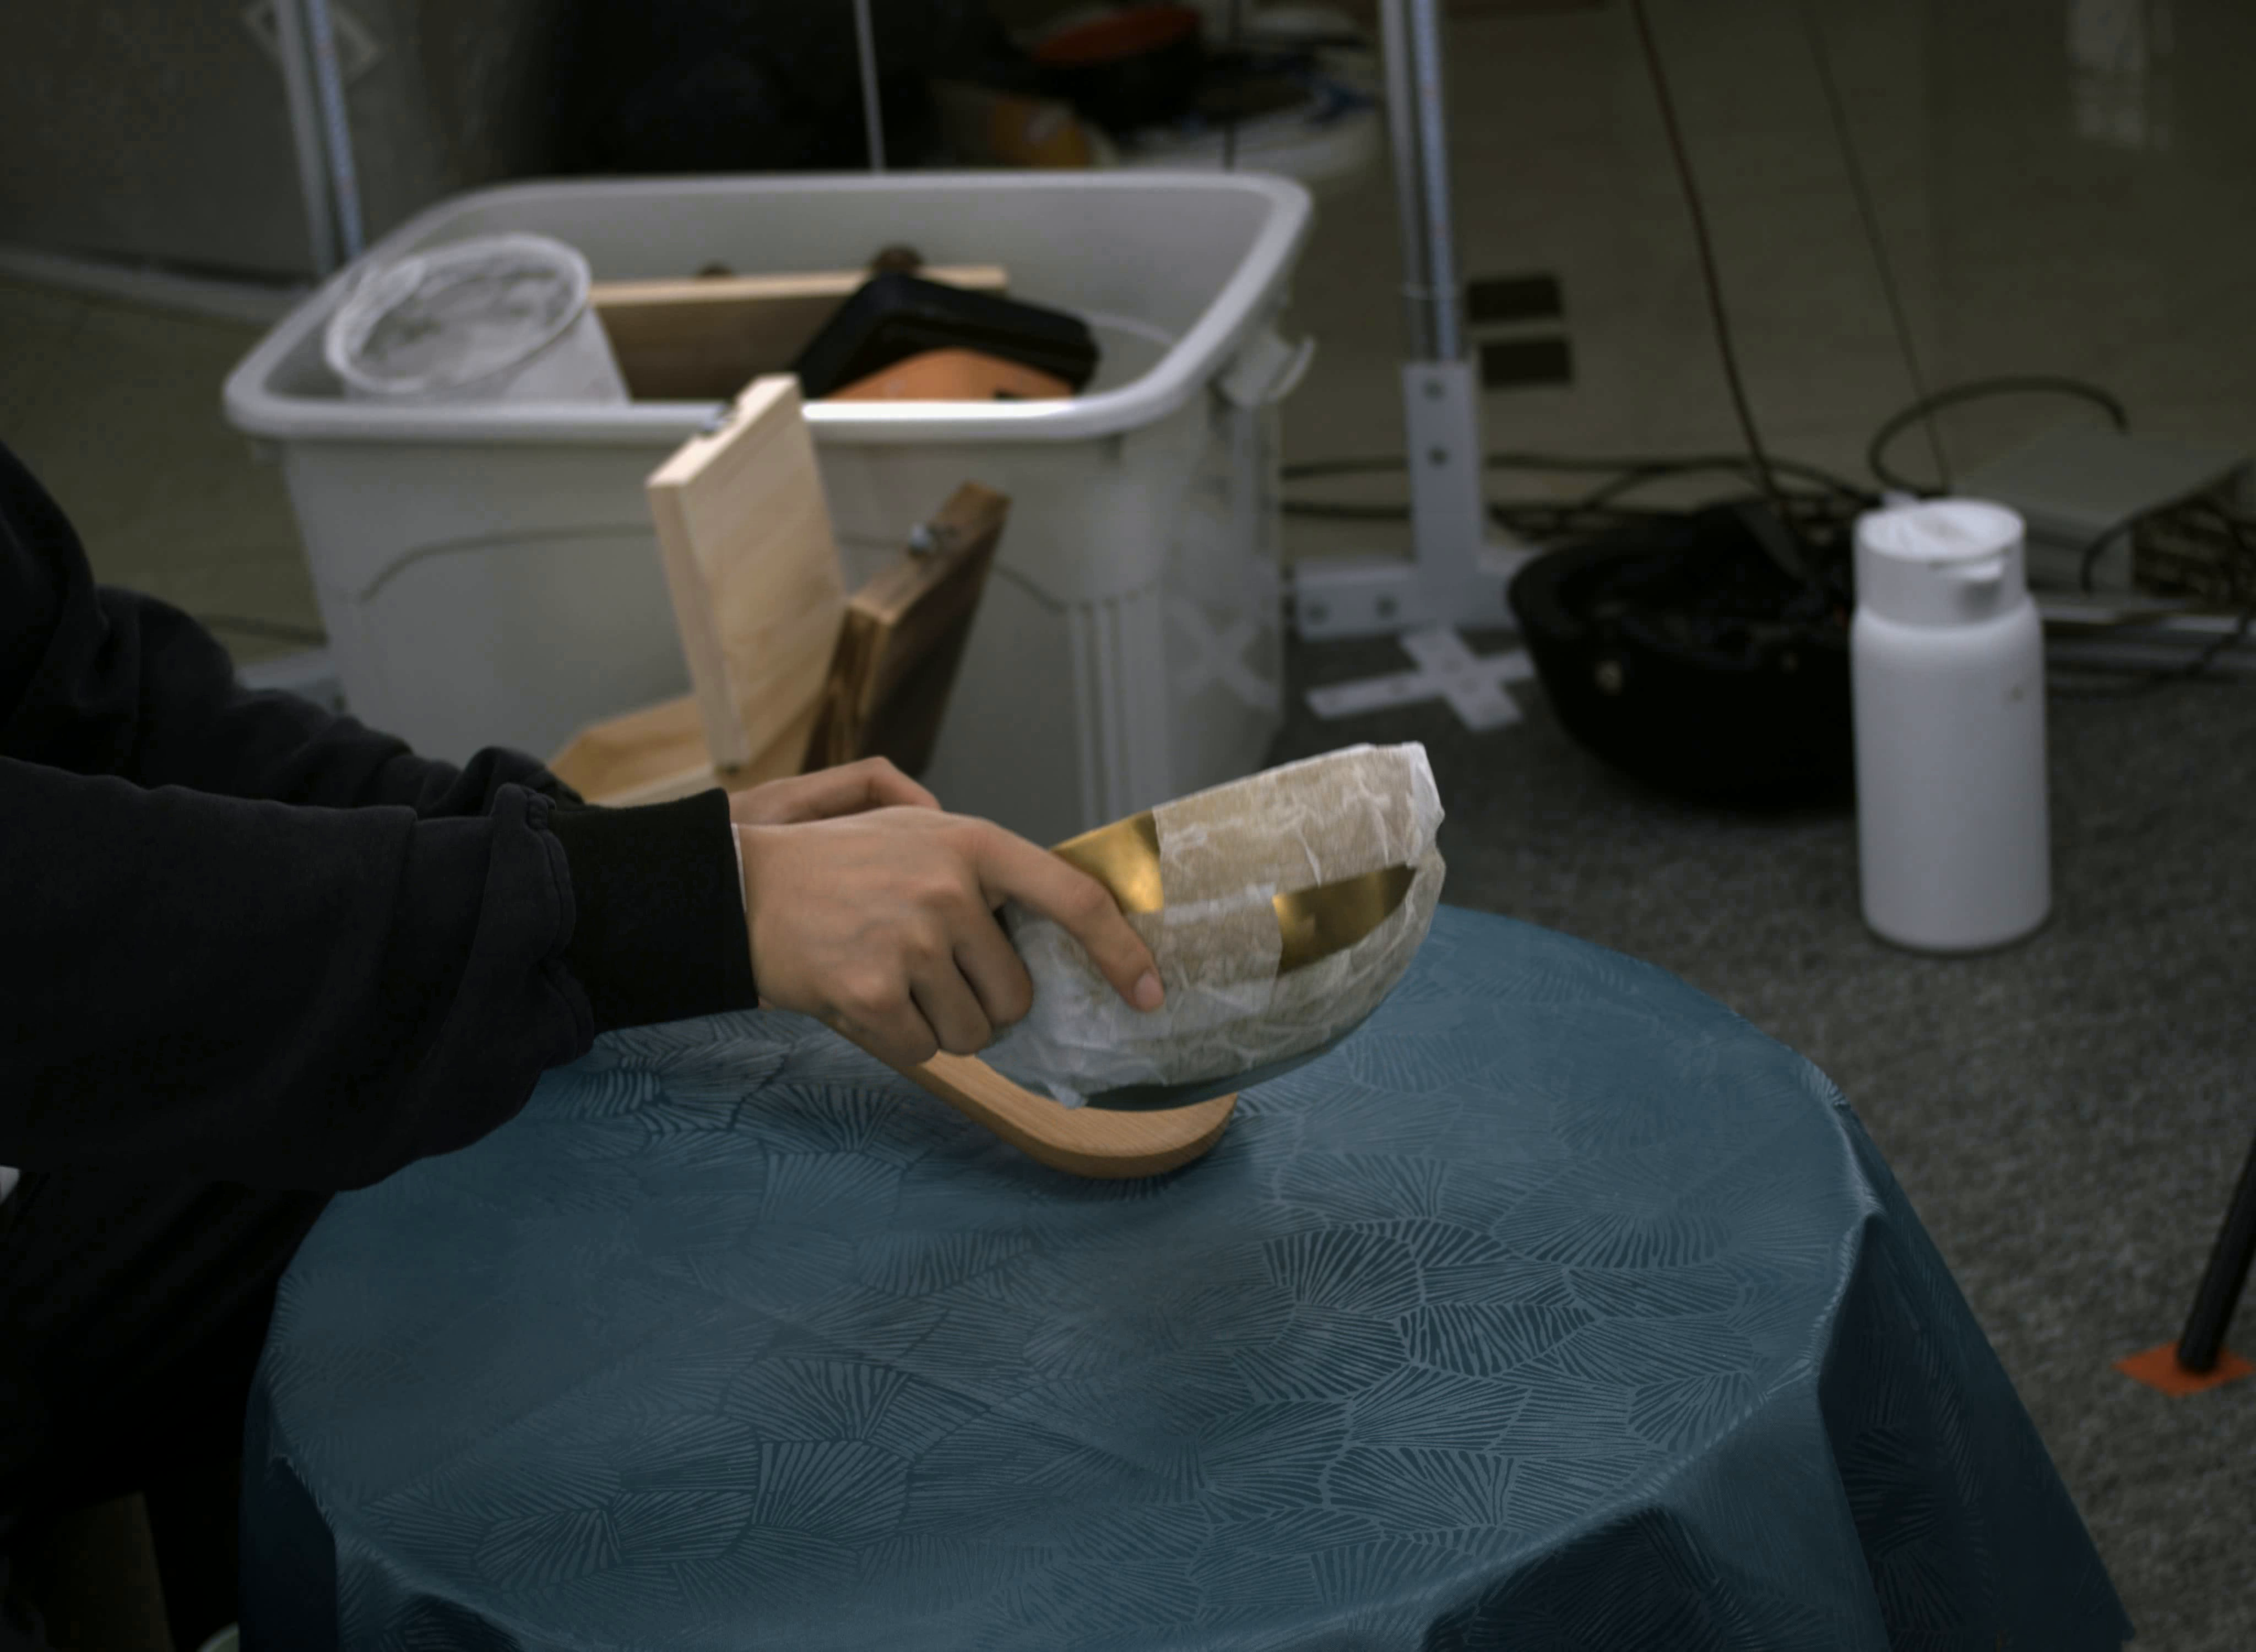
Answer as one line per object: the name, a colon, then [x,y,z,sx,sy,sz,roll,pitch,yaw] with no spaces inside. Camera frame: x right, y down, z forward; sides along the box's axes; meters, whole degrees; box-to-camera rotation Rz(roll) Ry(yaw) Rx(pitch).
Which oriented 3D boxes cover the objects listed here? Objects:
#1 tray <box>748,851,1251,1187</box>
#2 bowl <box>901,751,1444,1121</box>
tray: [-0.052,0.074,2.221,0.229,0.021,0.100,32,47,28]
bowl: [0.025,0.051,2.030,0.214,0.094,0.215,-20,-6,-2]
